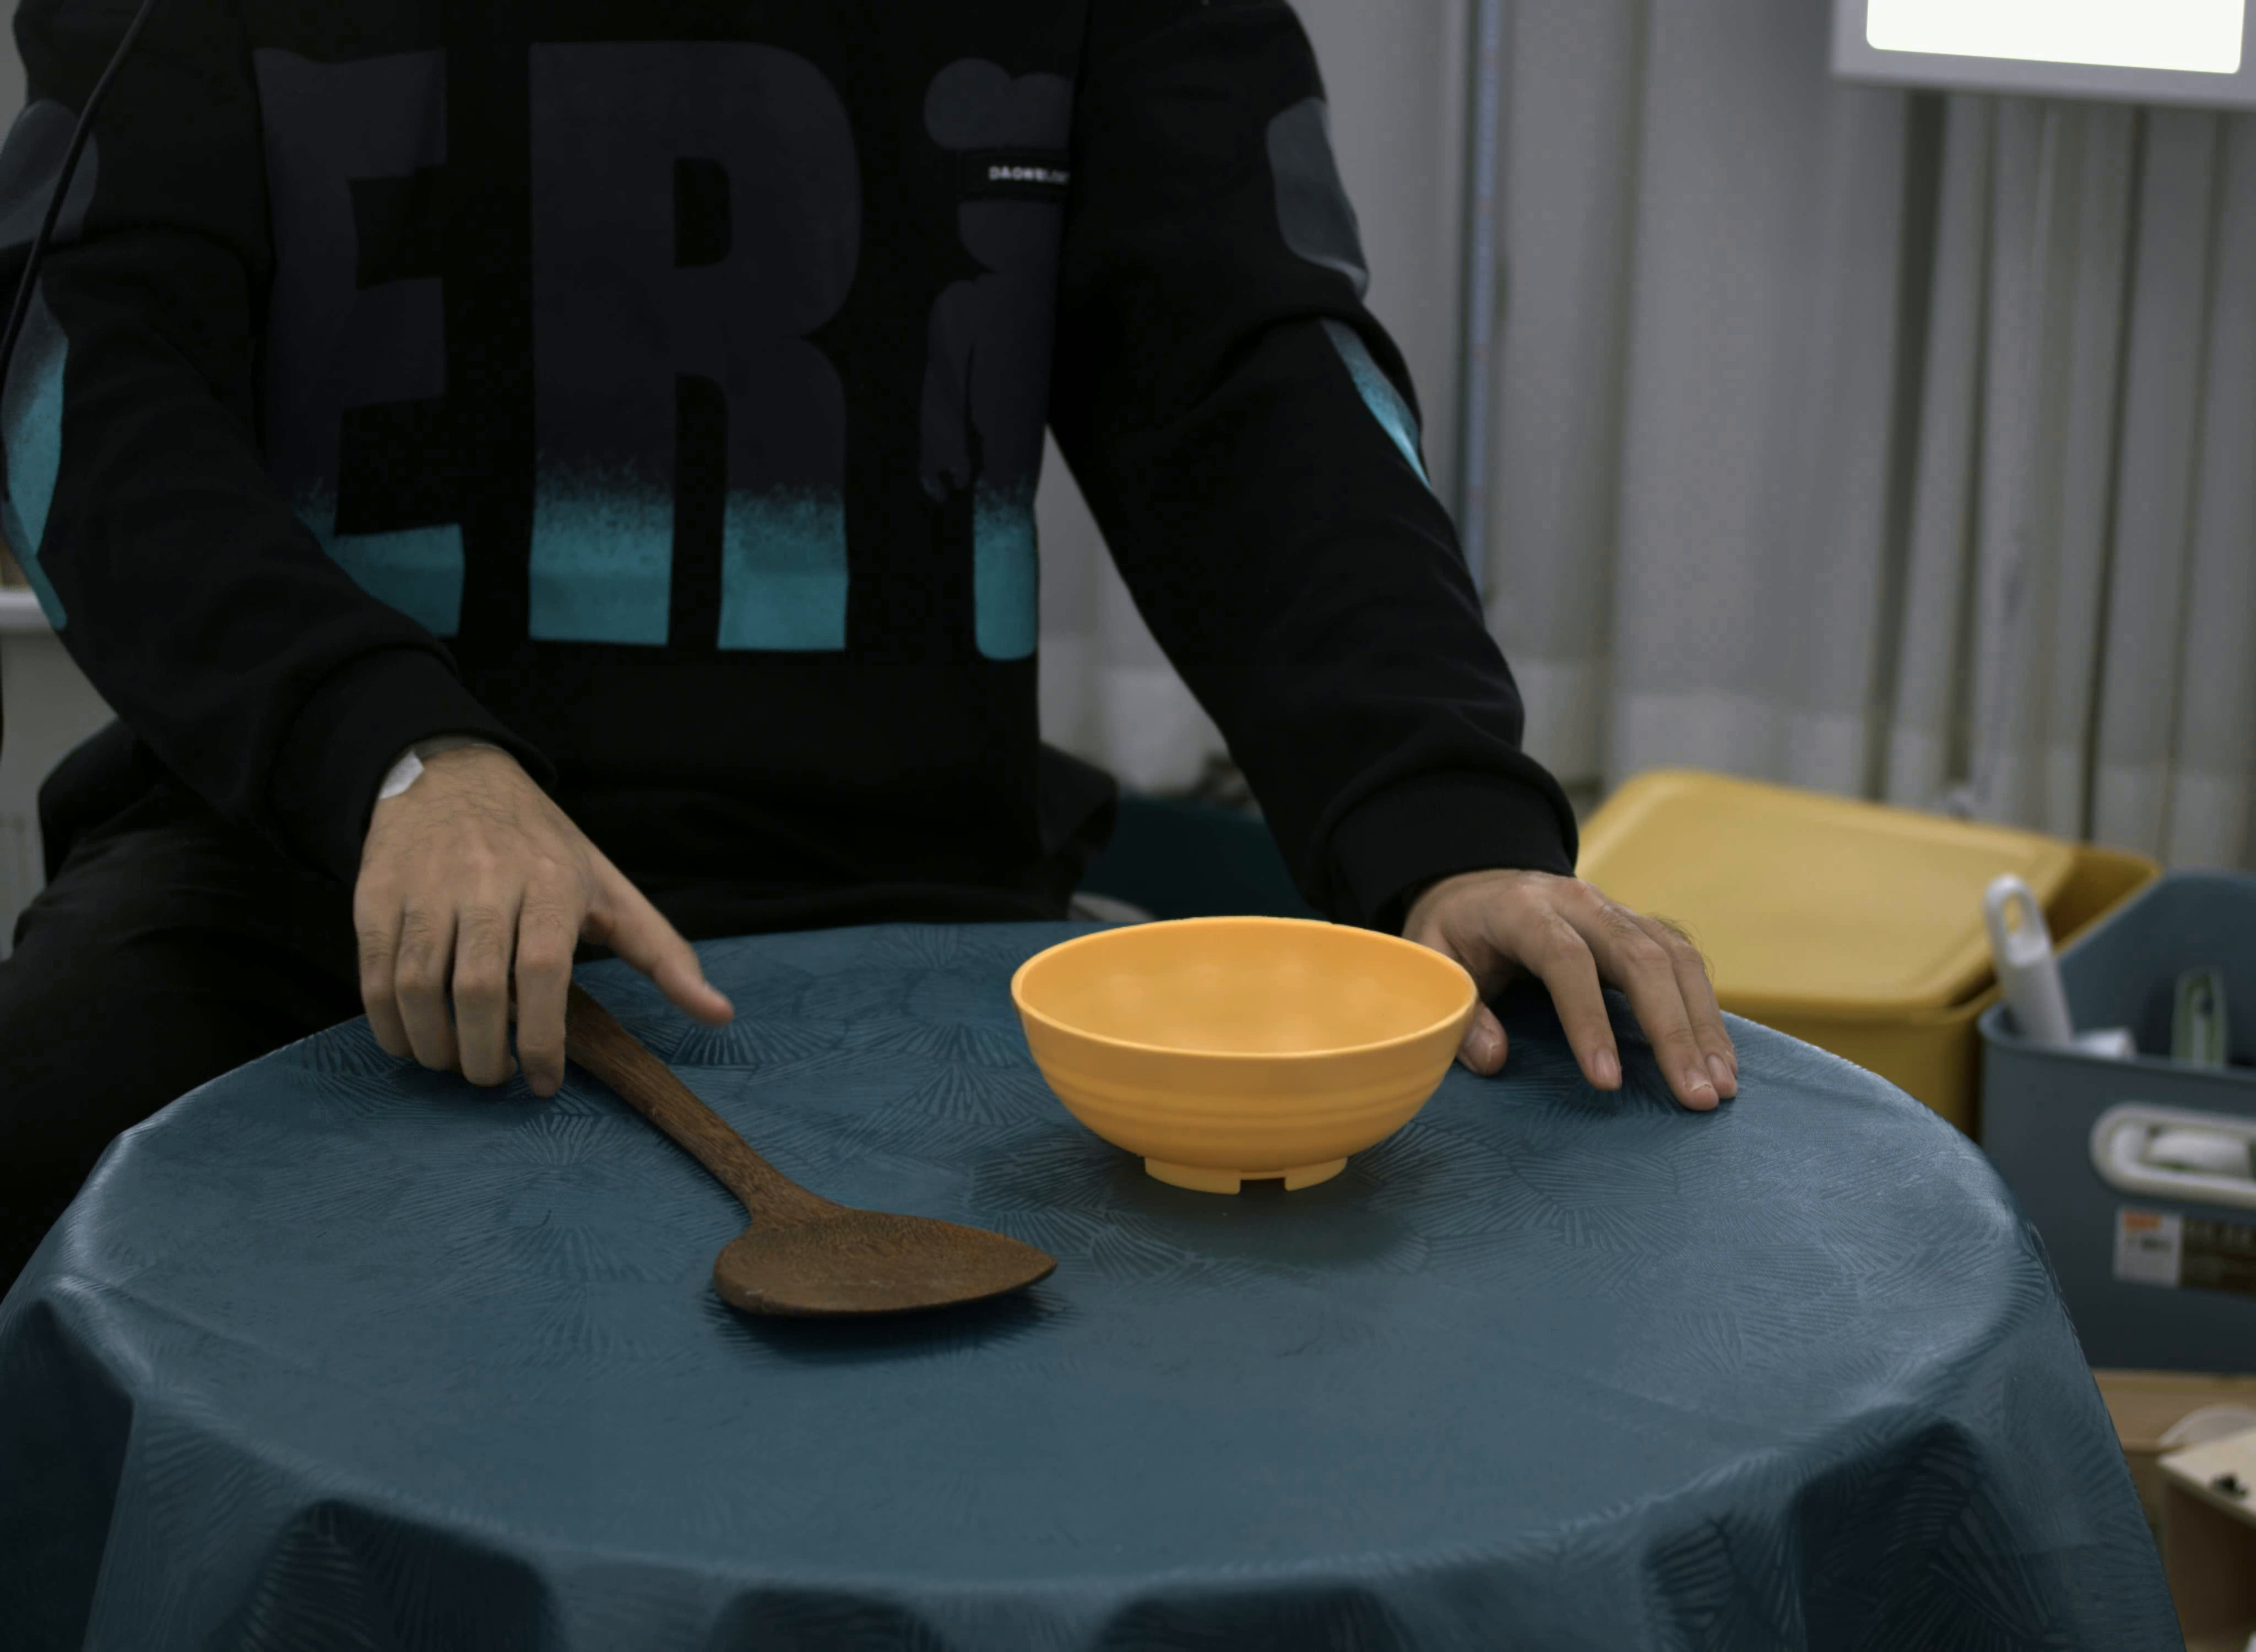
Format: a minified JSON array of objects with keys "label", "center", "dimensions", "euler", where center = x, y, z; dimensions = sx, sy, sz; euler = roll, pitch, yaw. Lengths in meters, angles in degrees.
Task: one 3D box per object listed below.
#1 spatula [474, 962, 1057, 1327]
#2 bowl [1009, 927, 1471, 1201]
[{"label":"spatula","center":[-0.137,0.094,1.660],"dimensions":[0.096,0.016,0.381],"euler":[-6,17,-25]},{"label":"bowl","center":[0.034,0.079,1.646],"dimensions":[0.145,0.060,0.144],"euler":[3,14,0]}]
